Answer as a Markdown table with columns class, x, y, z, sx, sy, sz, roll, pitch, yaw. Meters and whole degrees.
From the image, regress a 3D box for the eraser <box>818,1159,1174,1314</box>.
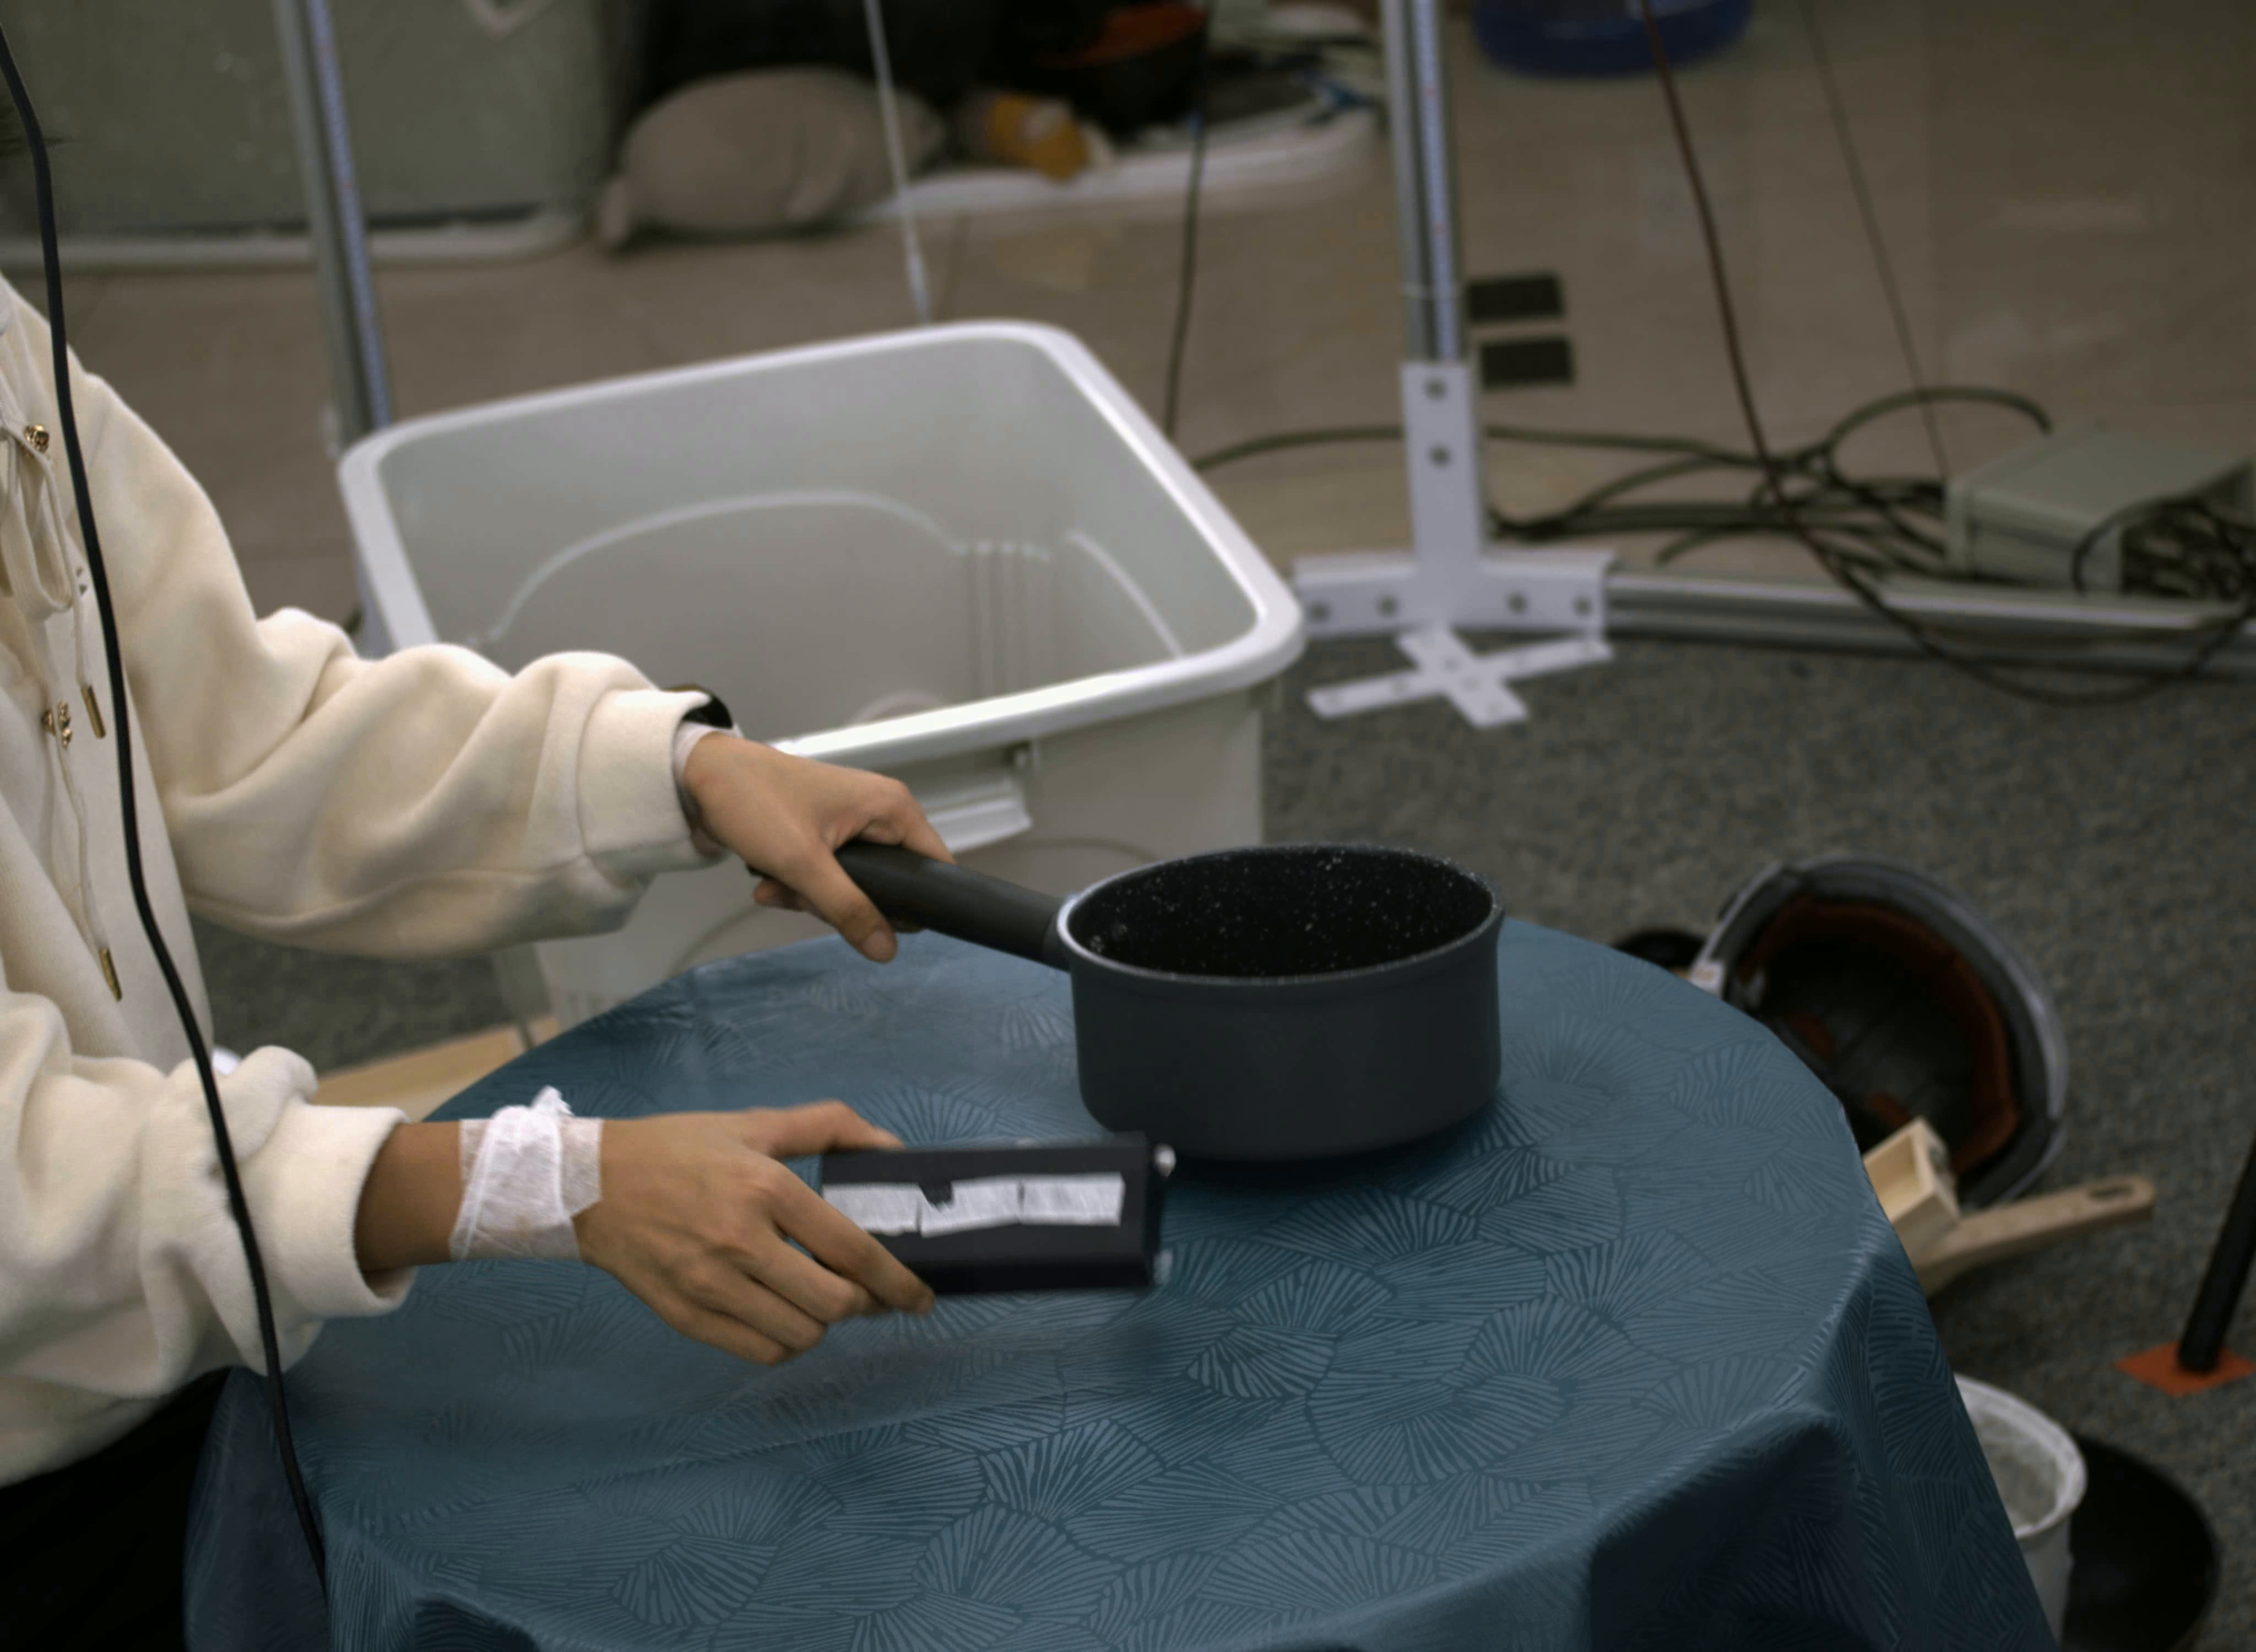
| class | x | y | z | sx | sy | sz | roll | pitch | yaw |
| --- | --- | --- | --- | --- | --- | --- | --- | --- | --- |
| eraser | -0.046 | 0.147 | 2.032 | 0.125 | 0.031 | 0.053 | -1 | 59 | 12 |

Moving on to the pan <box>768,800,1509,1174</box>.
| class | x | y | z | sx | sy | sz | roll | pitch | yaw |
| --- | --- | --- | --- | --- | --- | --- | --- | --- | --- |
| pan | -0.004 | 0.056 | 2.217 | 0.327 | 0.087 | 0.170 | 10 | 23 | 33 |
